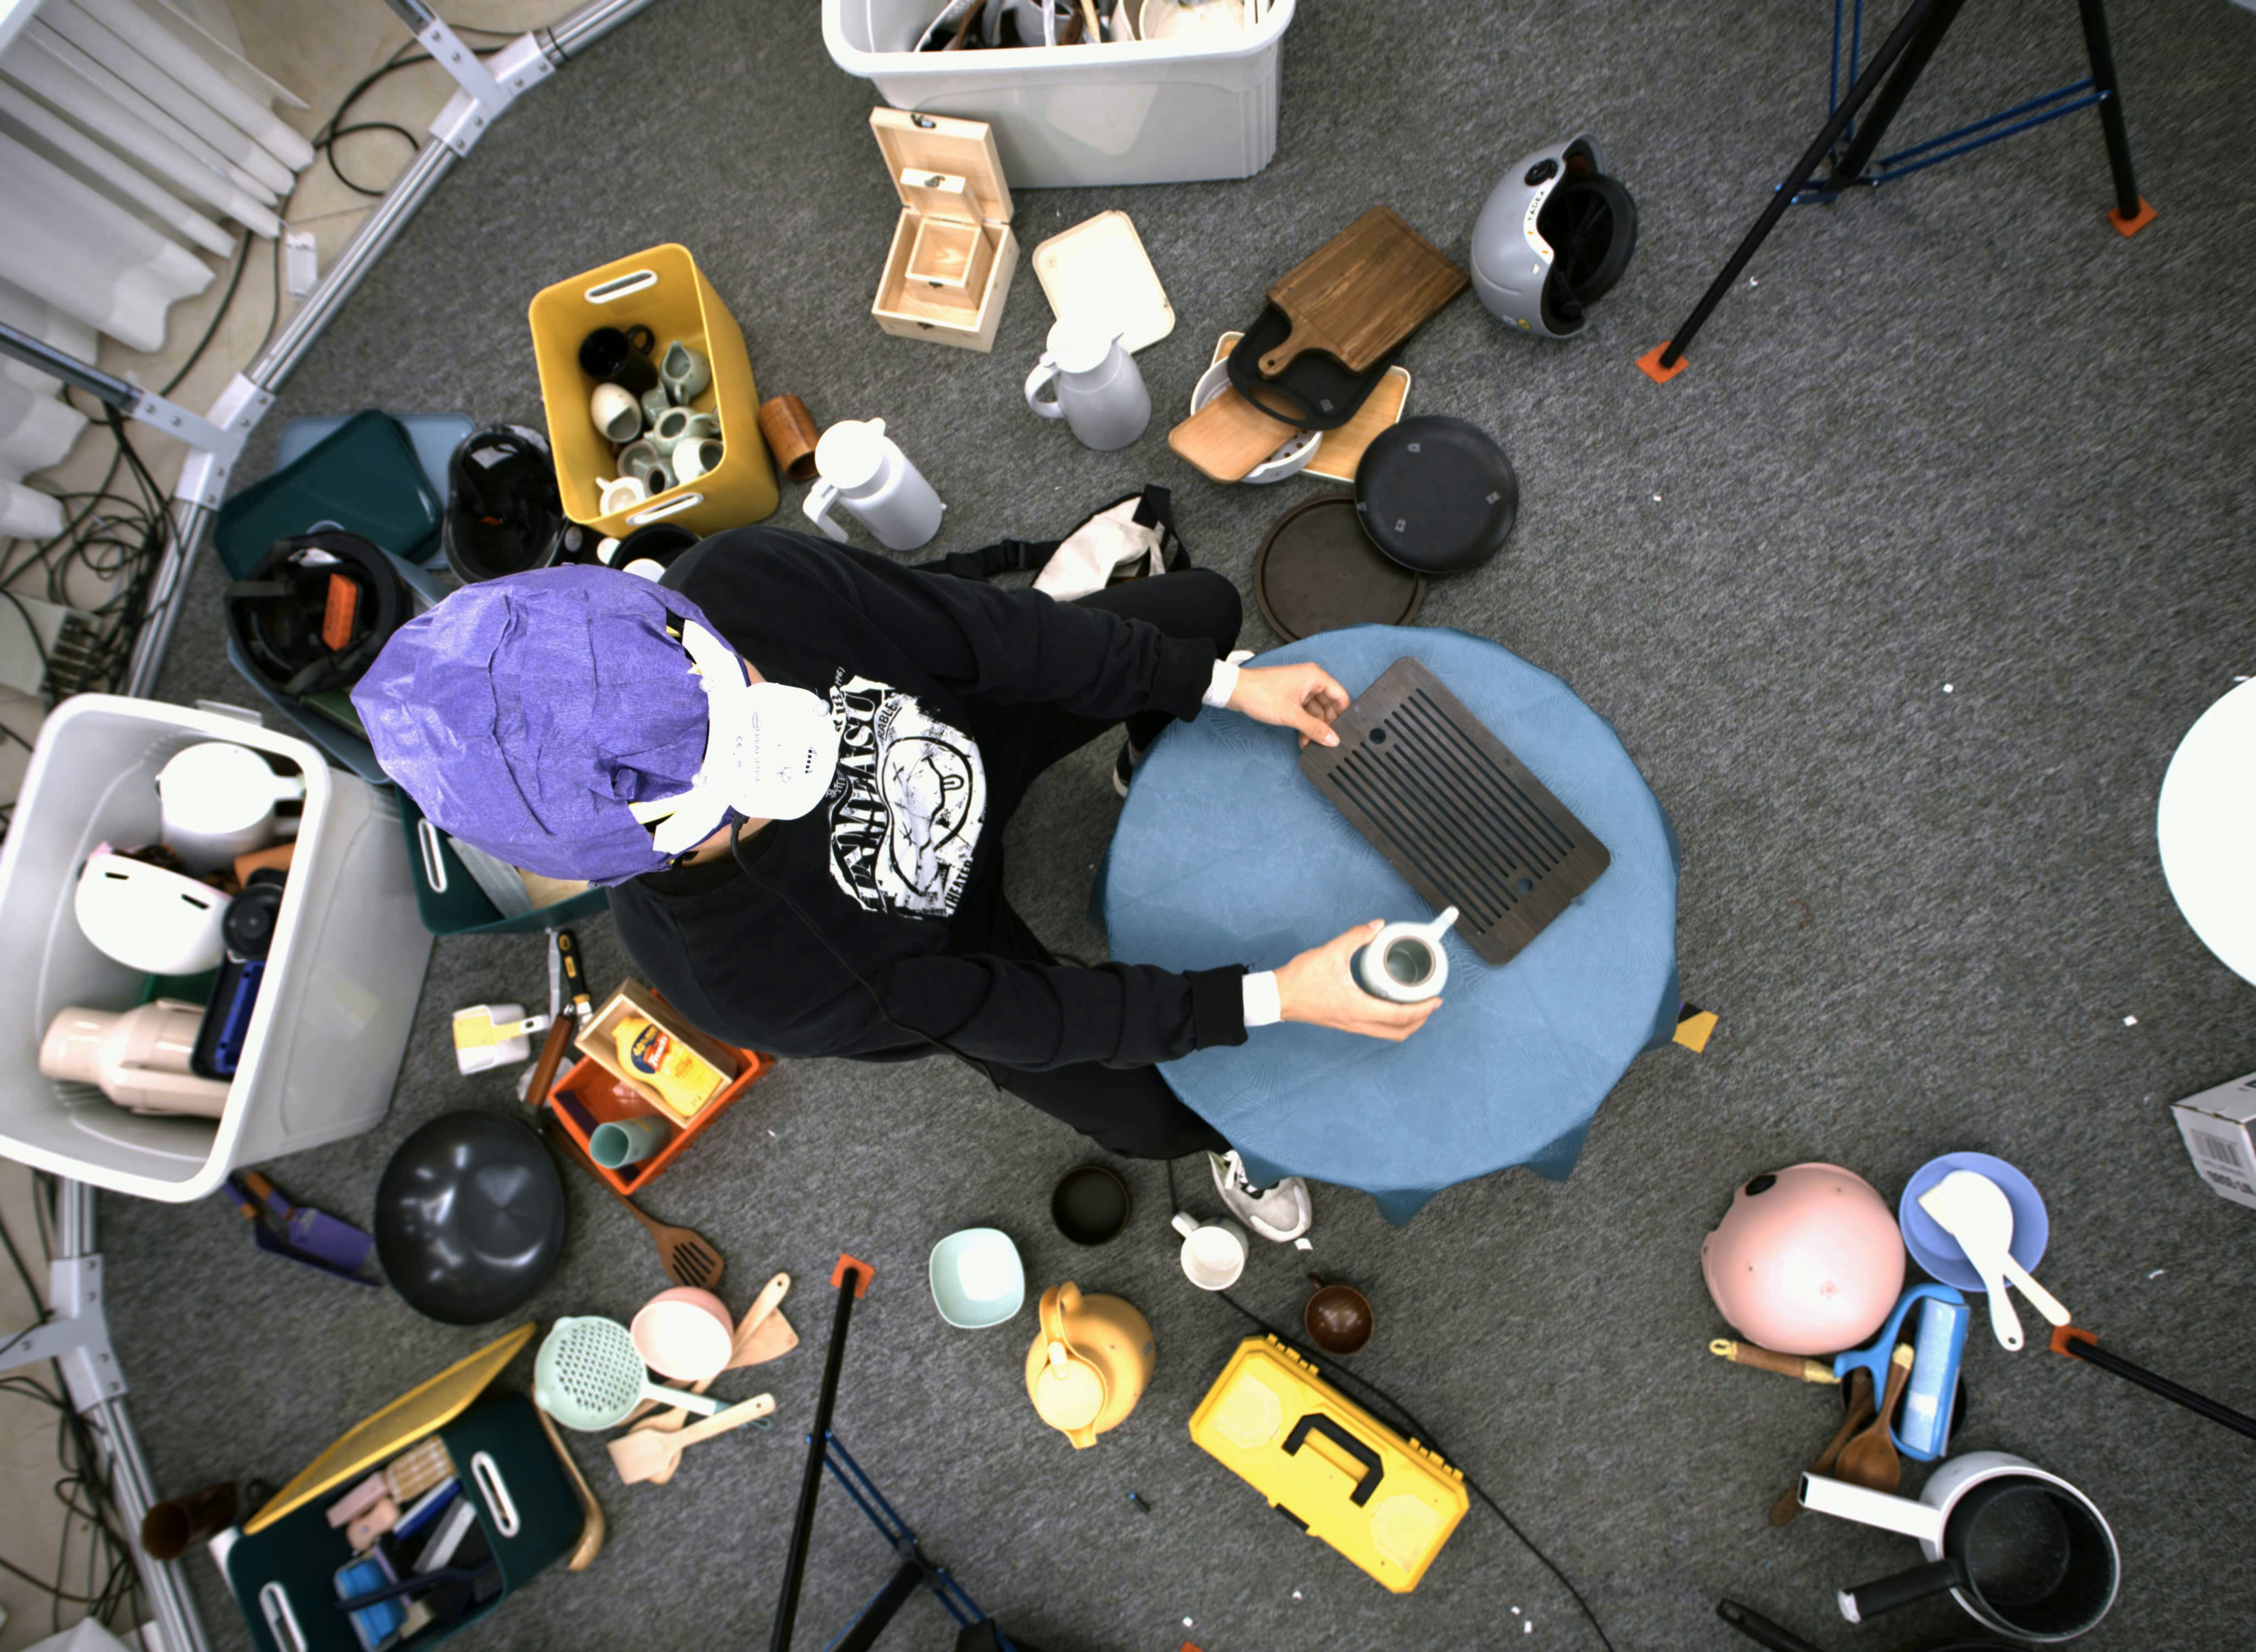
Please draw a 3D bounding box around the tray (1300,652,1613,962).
[{"bbox_3d":[0.340,-0.023,1.433,0.171,0.018,0.305,-44,85,6],"label":"tray"}]

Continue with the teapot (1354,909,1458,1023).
[{"bbox_3d":[0.270,0.139,1.365,0.088,0.076,0.142,44,78,9],"label":"teapot"}]
